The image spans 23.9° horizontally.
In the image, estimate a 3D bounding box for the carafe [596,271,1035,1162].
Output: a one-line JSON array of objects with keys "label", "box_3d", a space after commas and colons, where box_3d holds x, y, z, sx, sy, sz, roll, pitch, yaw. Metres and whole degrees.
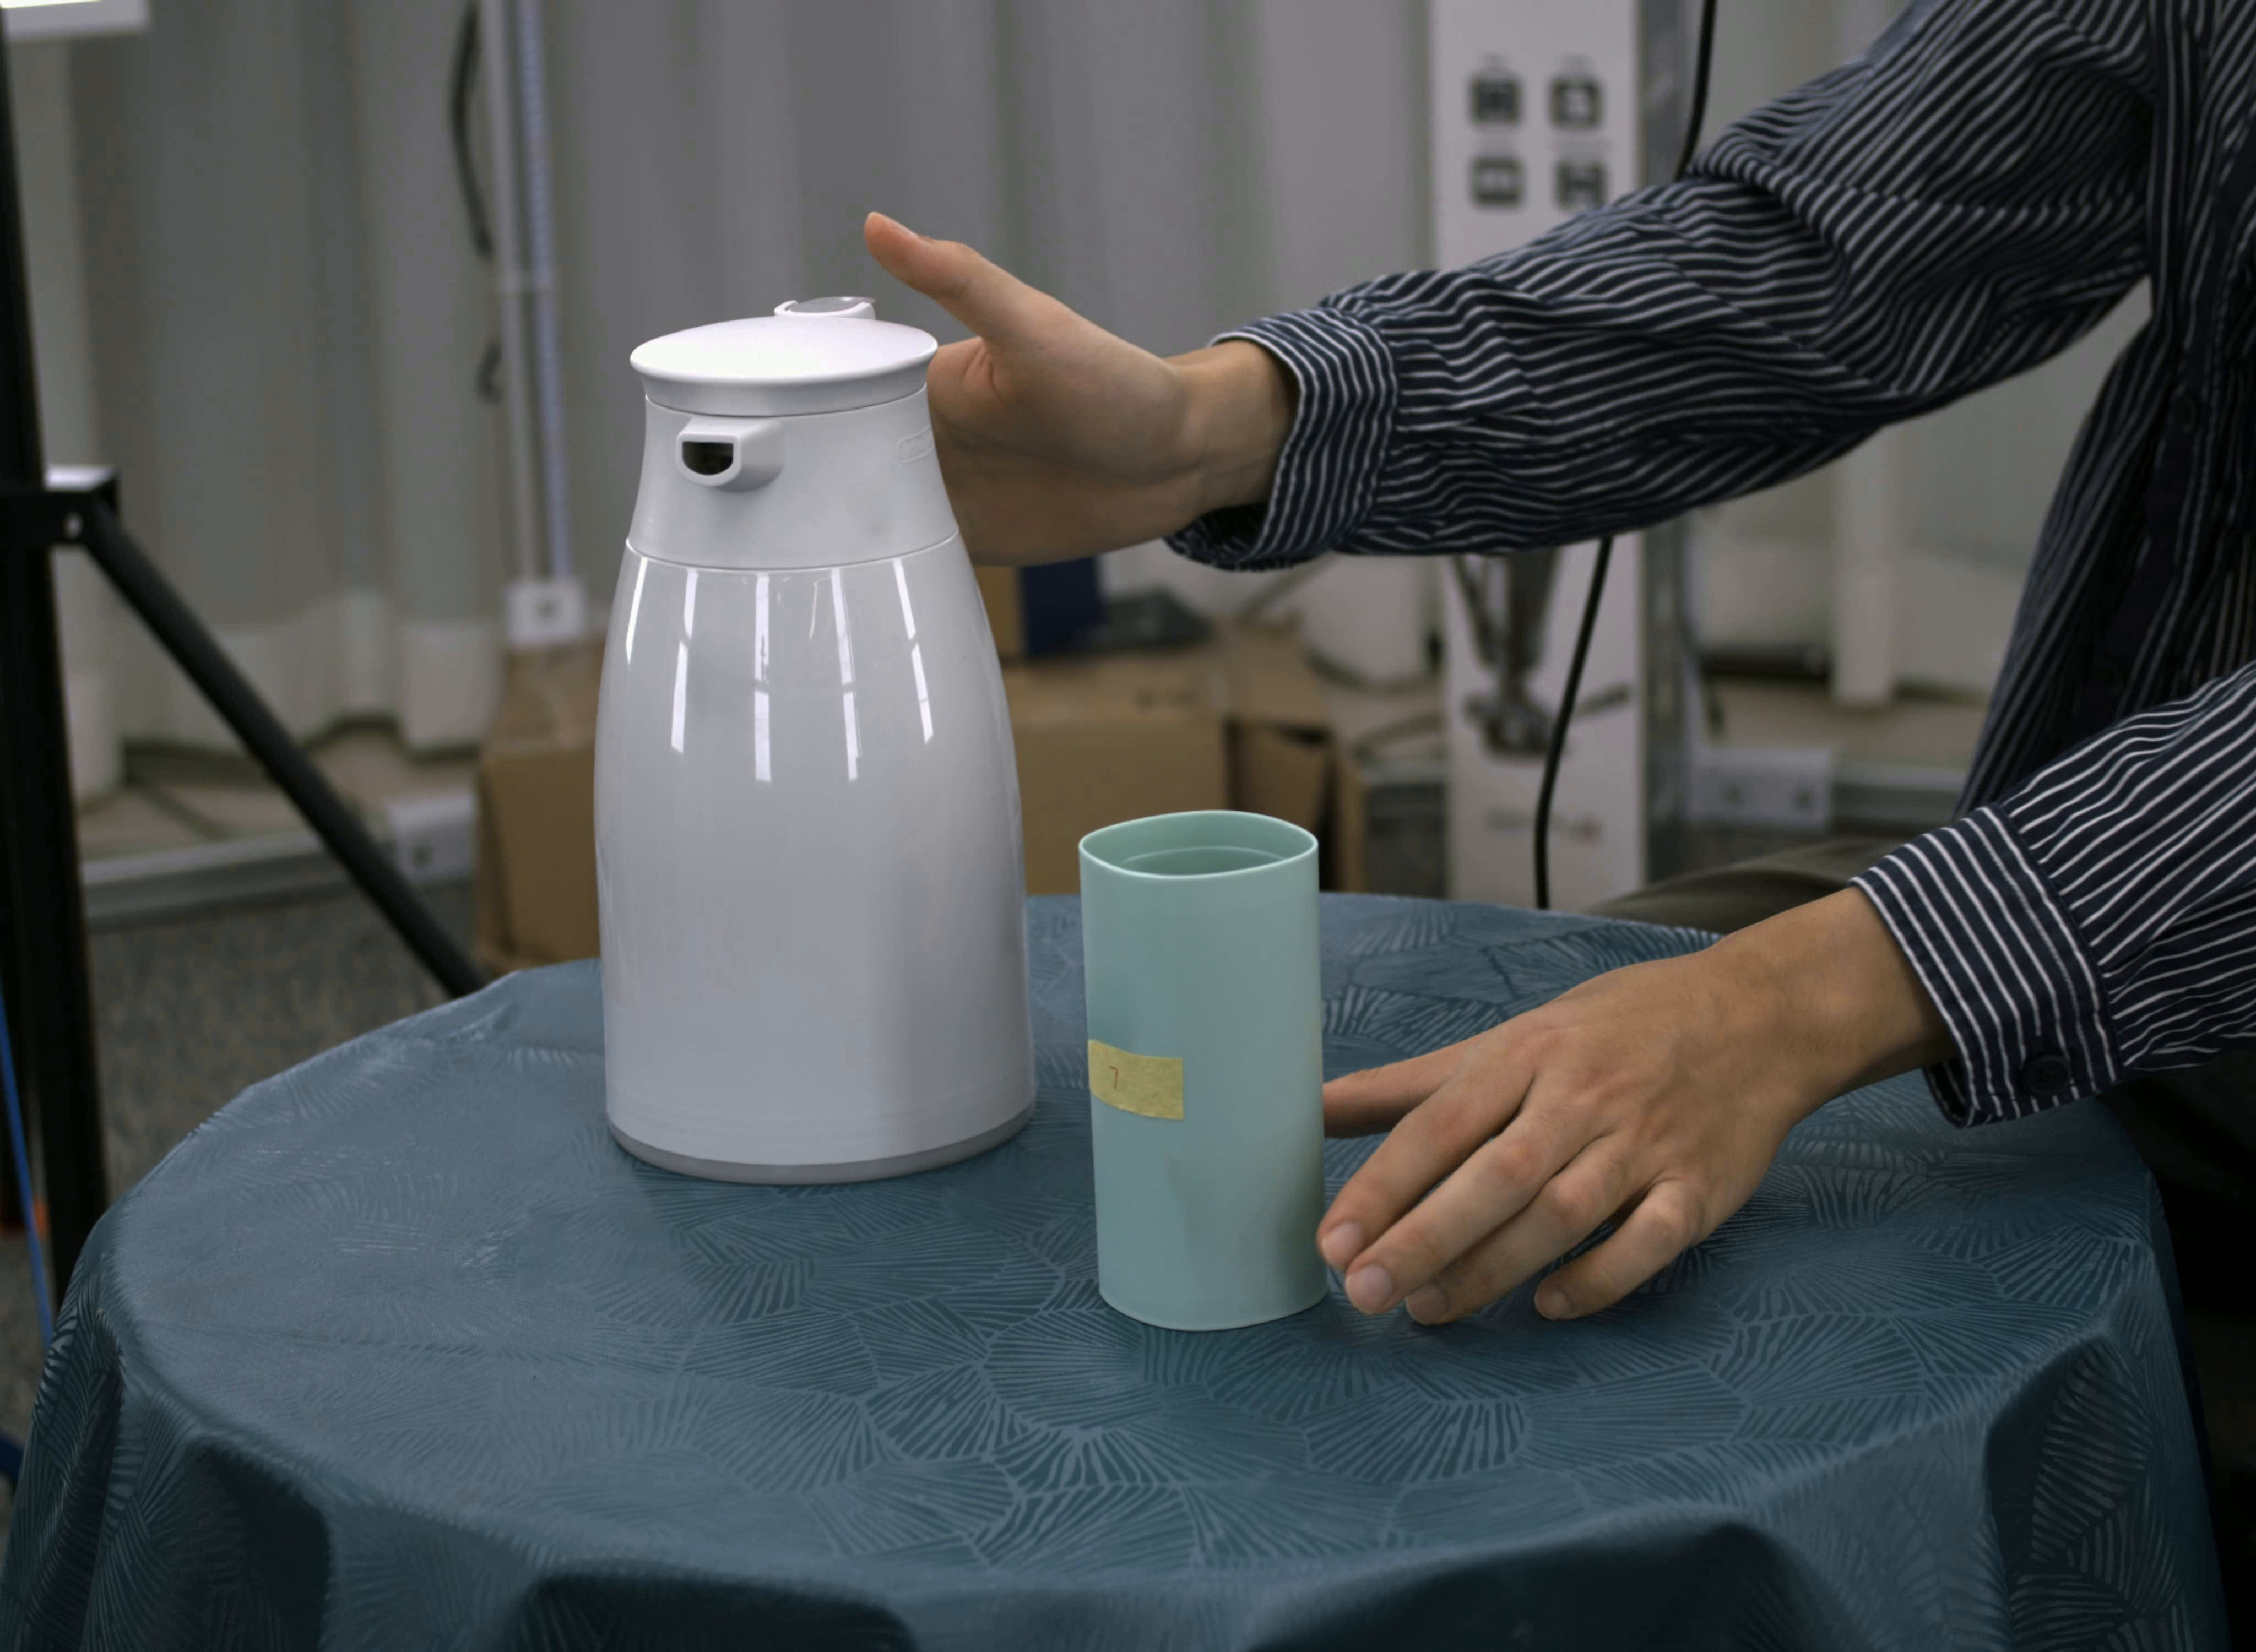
[{"label": "carafe", "box_3d": [-0.094, -0.041, 1.632, 0.133, 0.248, 0.166, 2, 15, 16]}]

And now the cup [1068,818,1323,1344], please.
[{"label": "cup", "box_3d": [0.021, 0.069, 1.465, 0.066, 0.132, 0.067, -4, 16, 0]}]
